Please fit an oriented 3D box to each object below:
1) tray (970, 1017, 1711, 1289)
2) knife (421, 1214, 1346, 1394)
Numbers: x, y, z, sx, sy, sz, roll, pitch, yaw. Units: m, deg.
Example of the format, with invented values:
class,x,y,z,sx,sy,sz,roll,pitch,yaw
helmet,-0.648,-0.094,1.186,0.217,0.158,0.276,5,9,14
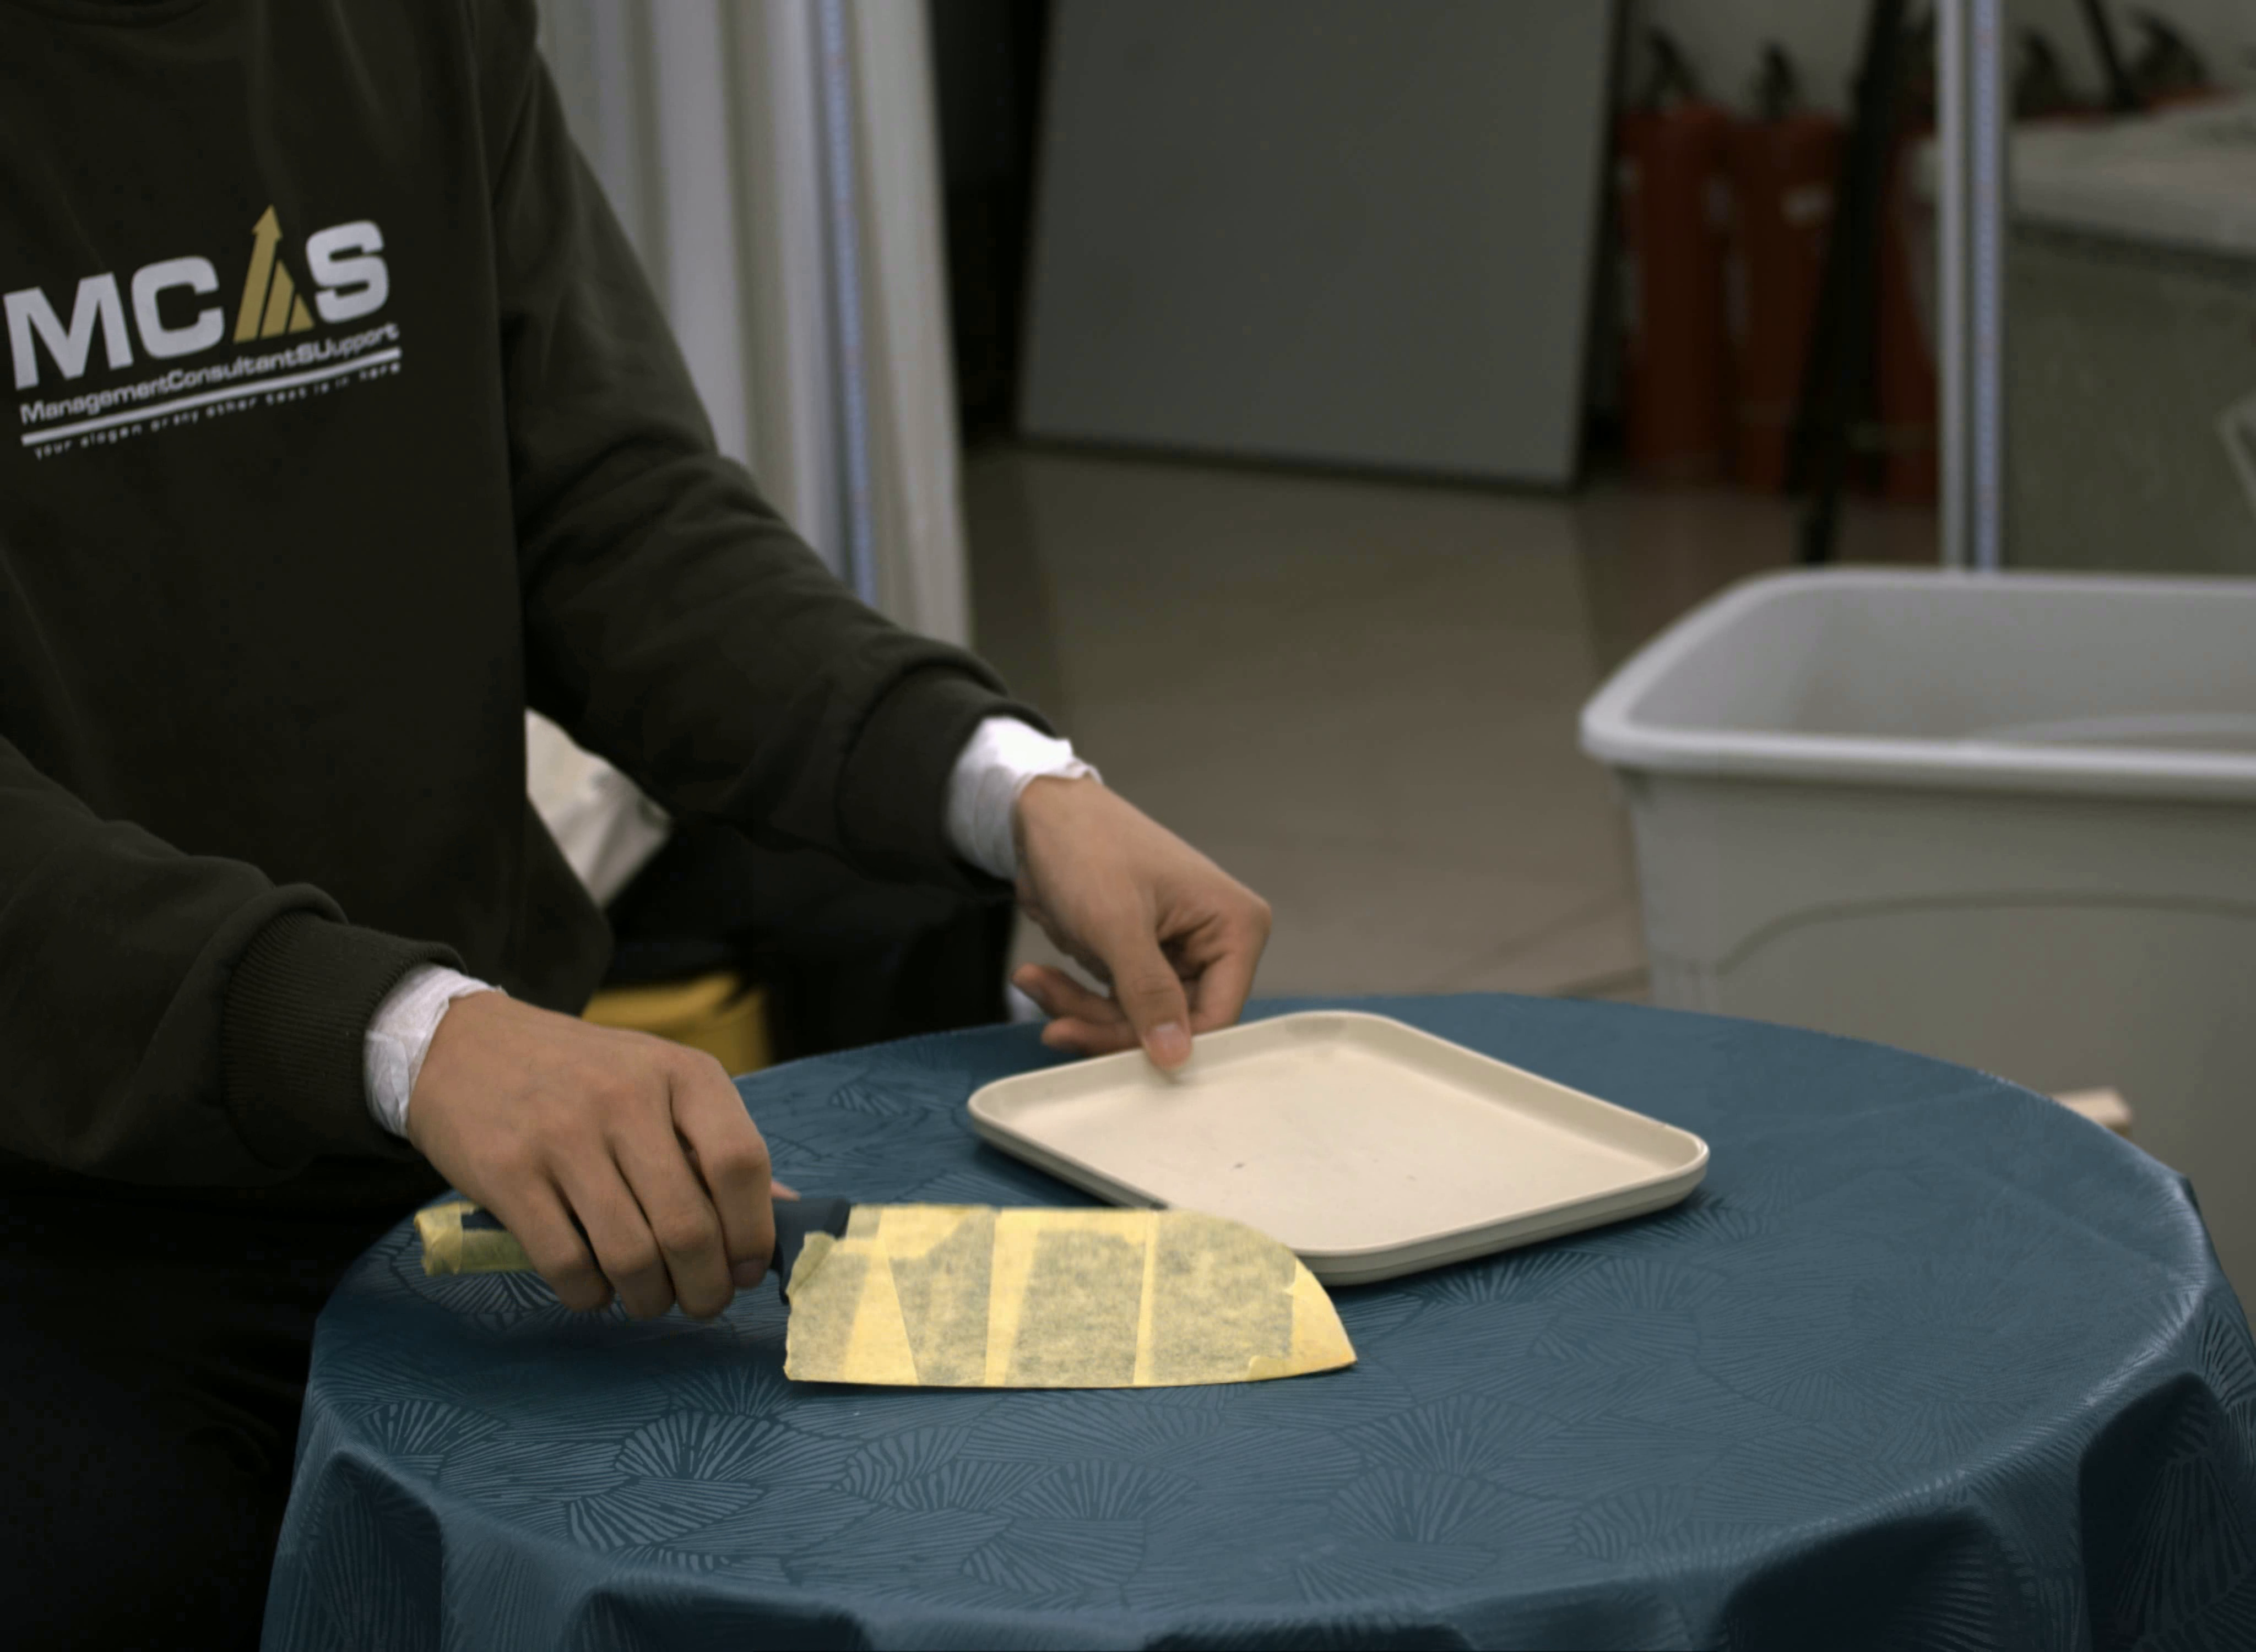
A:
class,x,y,z,sx,sy,sz,roll,pitch,yaw
tray,0.067,0.107,1.778,0.167,0.017,0.242,-12,15,-28
knife,-0.076,0.143,1.625,0.287,0.027,0.081,0,37,9
